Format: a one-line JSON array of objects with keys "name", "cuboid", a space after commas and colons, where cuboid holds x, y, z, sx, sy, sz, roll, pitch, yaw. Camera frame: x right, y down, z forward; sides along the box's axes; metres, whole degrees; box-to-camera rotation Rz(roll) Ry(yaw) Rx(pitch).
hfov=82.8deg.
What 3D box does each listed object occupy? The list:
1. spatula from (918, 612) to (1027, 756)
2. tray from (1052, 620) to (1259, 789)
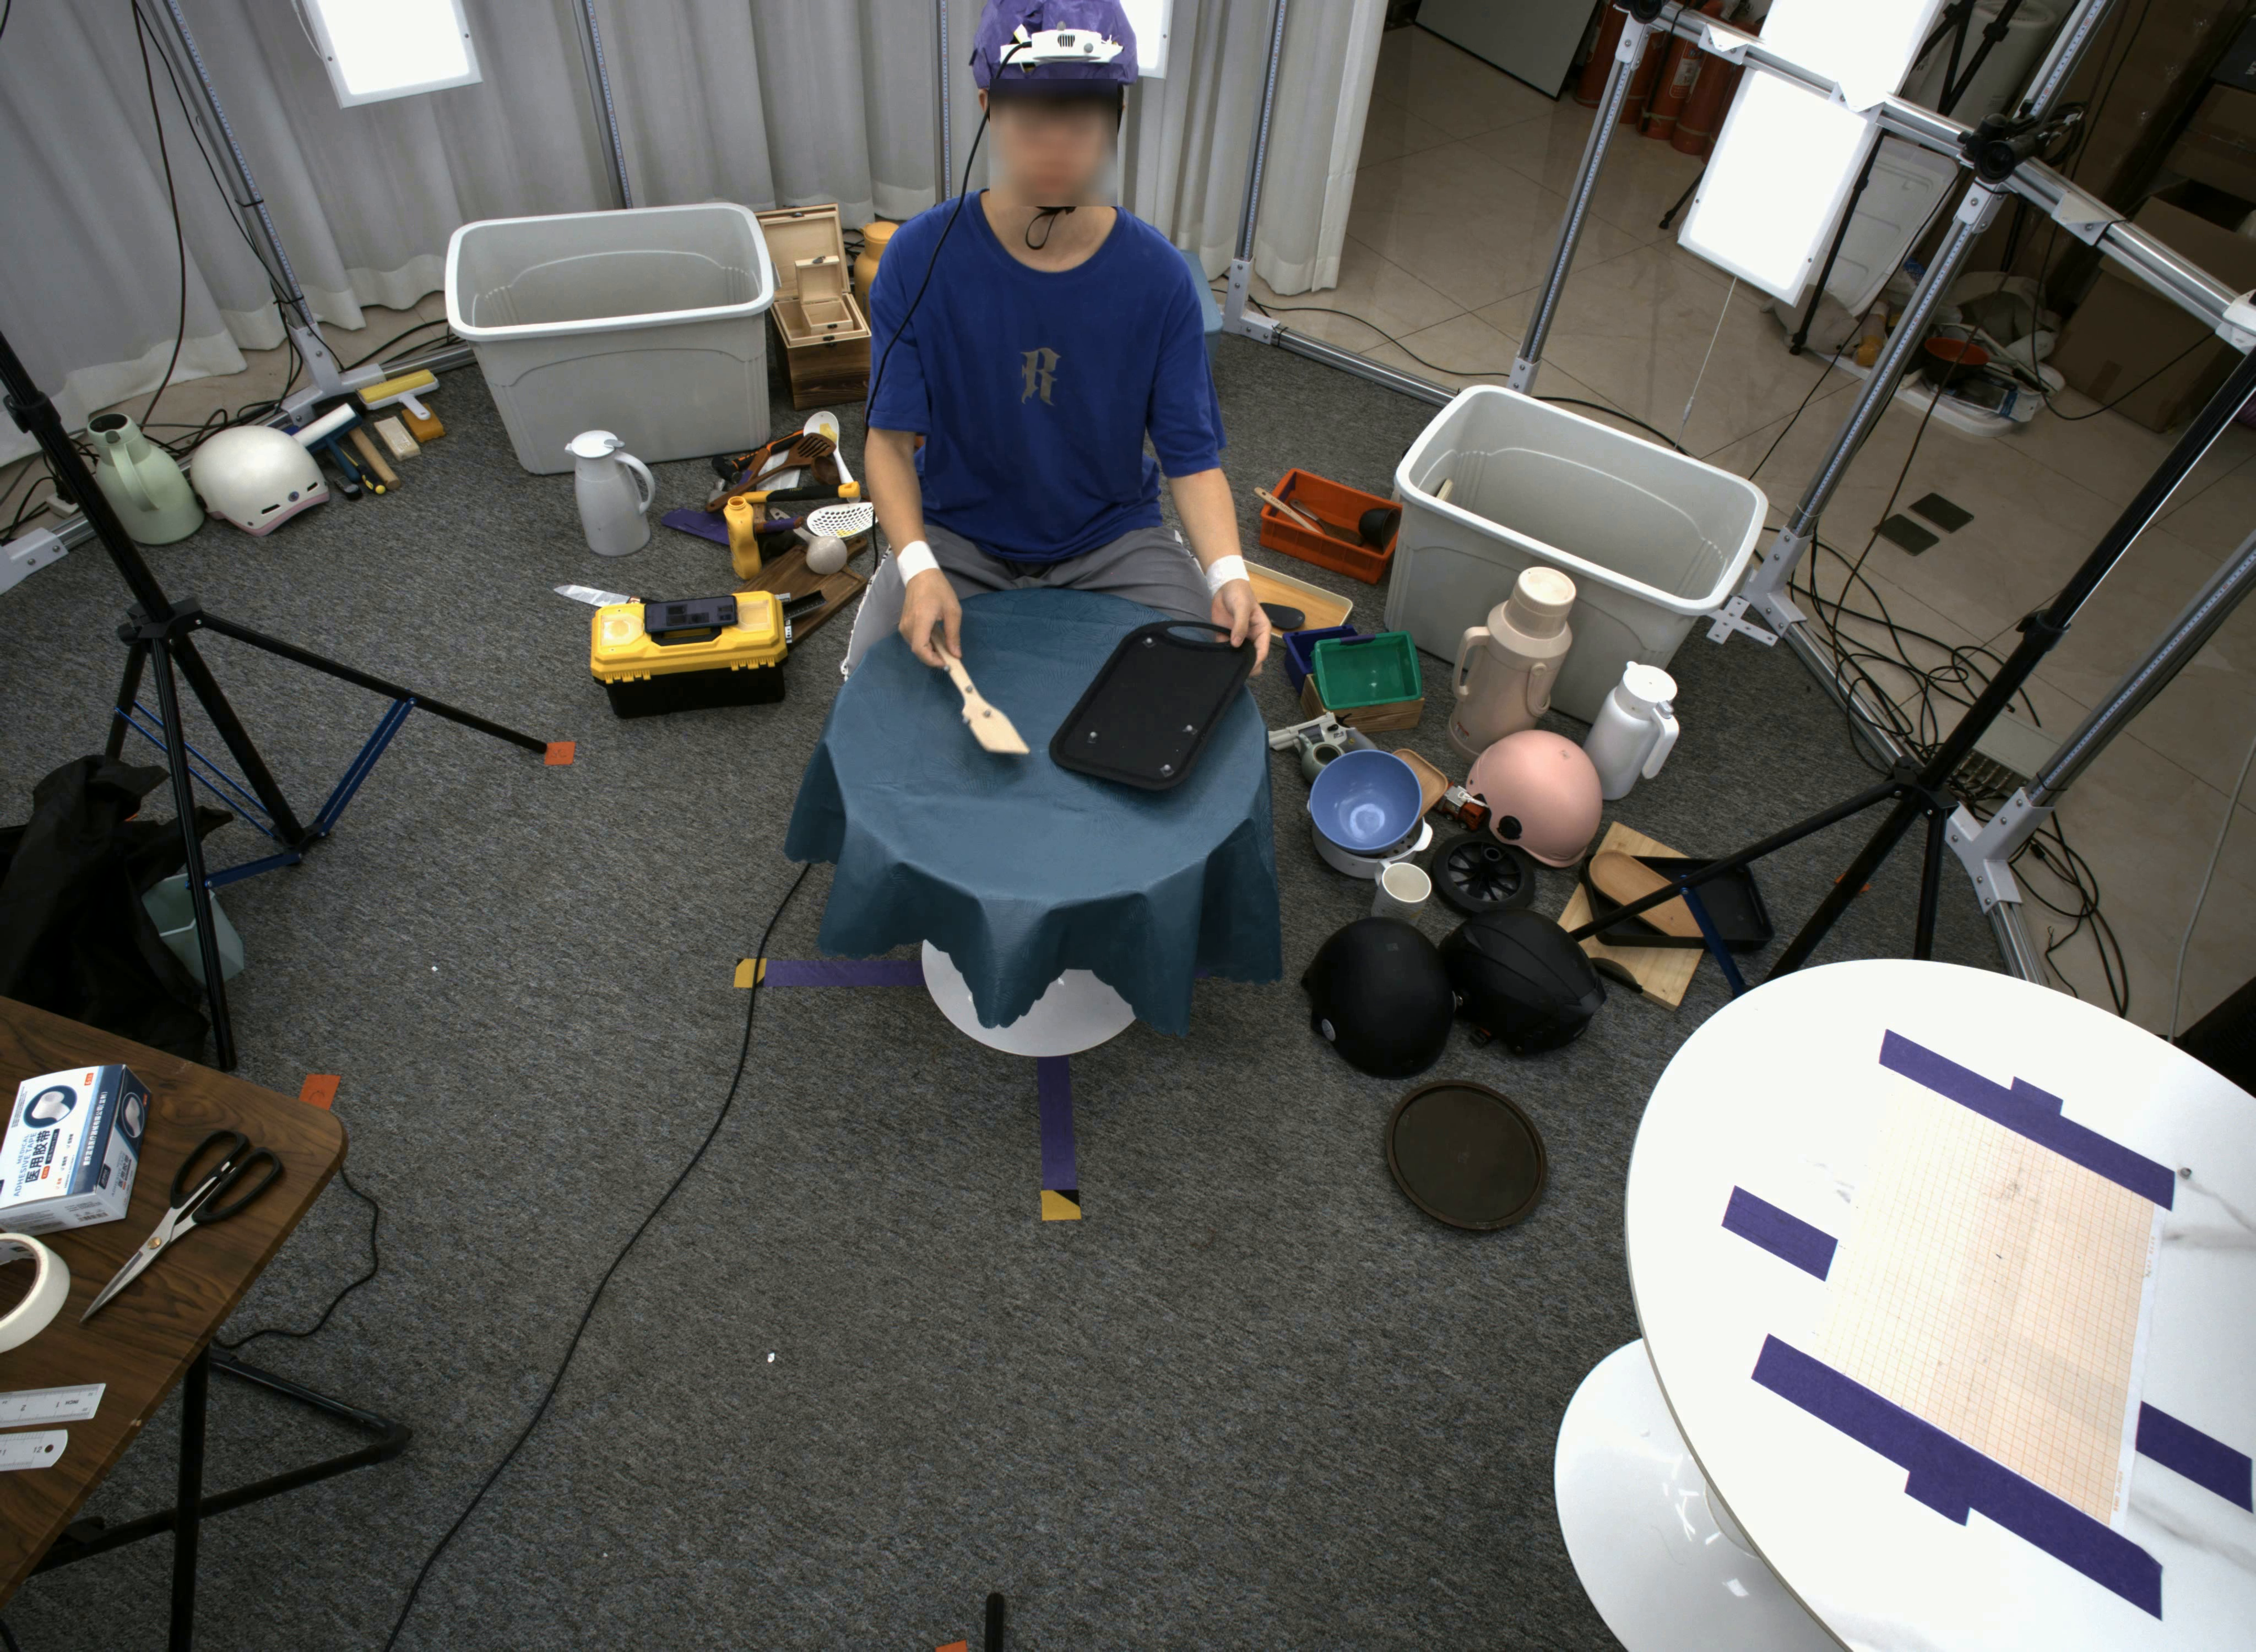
[{"name": "spatula", "cuboid": [-0.228, -0.200, 1.780, 0.072, 0.010, 0.299, 0, 46, -41]}, {"name": "tray", "cuboid": [0.043, -0.183, 1.793, 0.213, 0.009, 0.331, 16, 53, 25]}]
